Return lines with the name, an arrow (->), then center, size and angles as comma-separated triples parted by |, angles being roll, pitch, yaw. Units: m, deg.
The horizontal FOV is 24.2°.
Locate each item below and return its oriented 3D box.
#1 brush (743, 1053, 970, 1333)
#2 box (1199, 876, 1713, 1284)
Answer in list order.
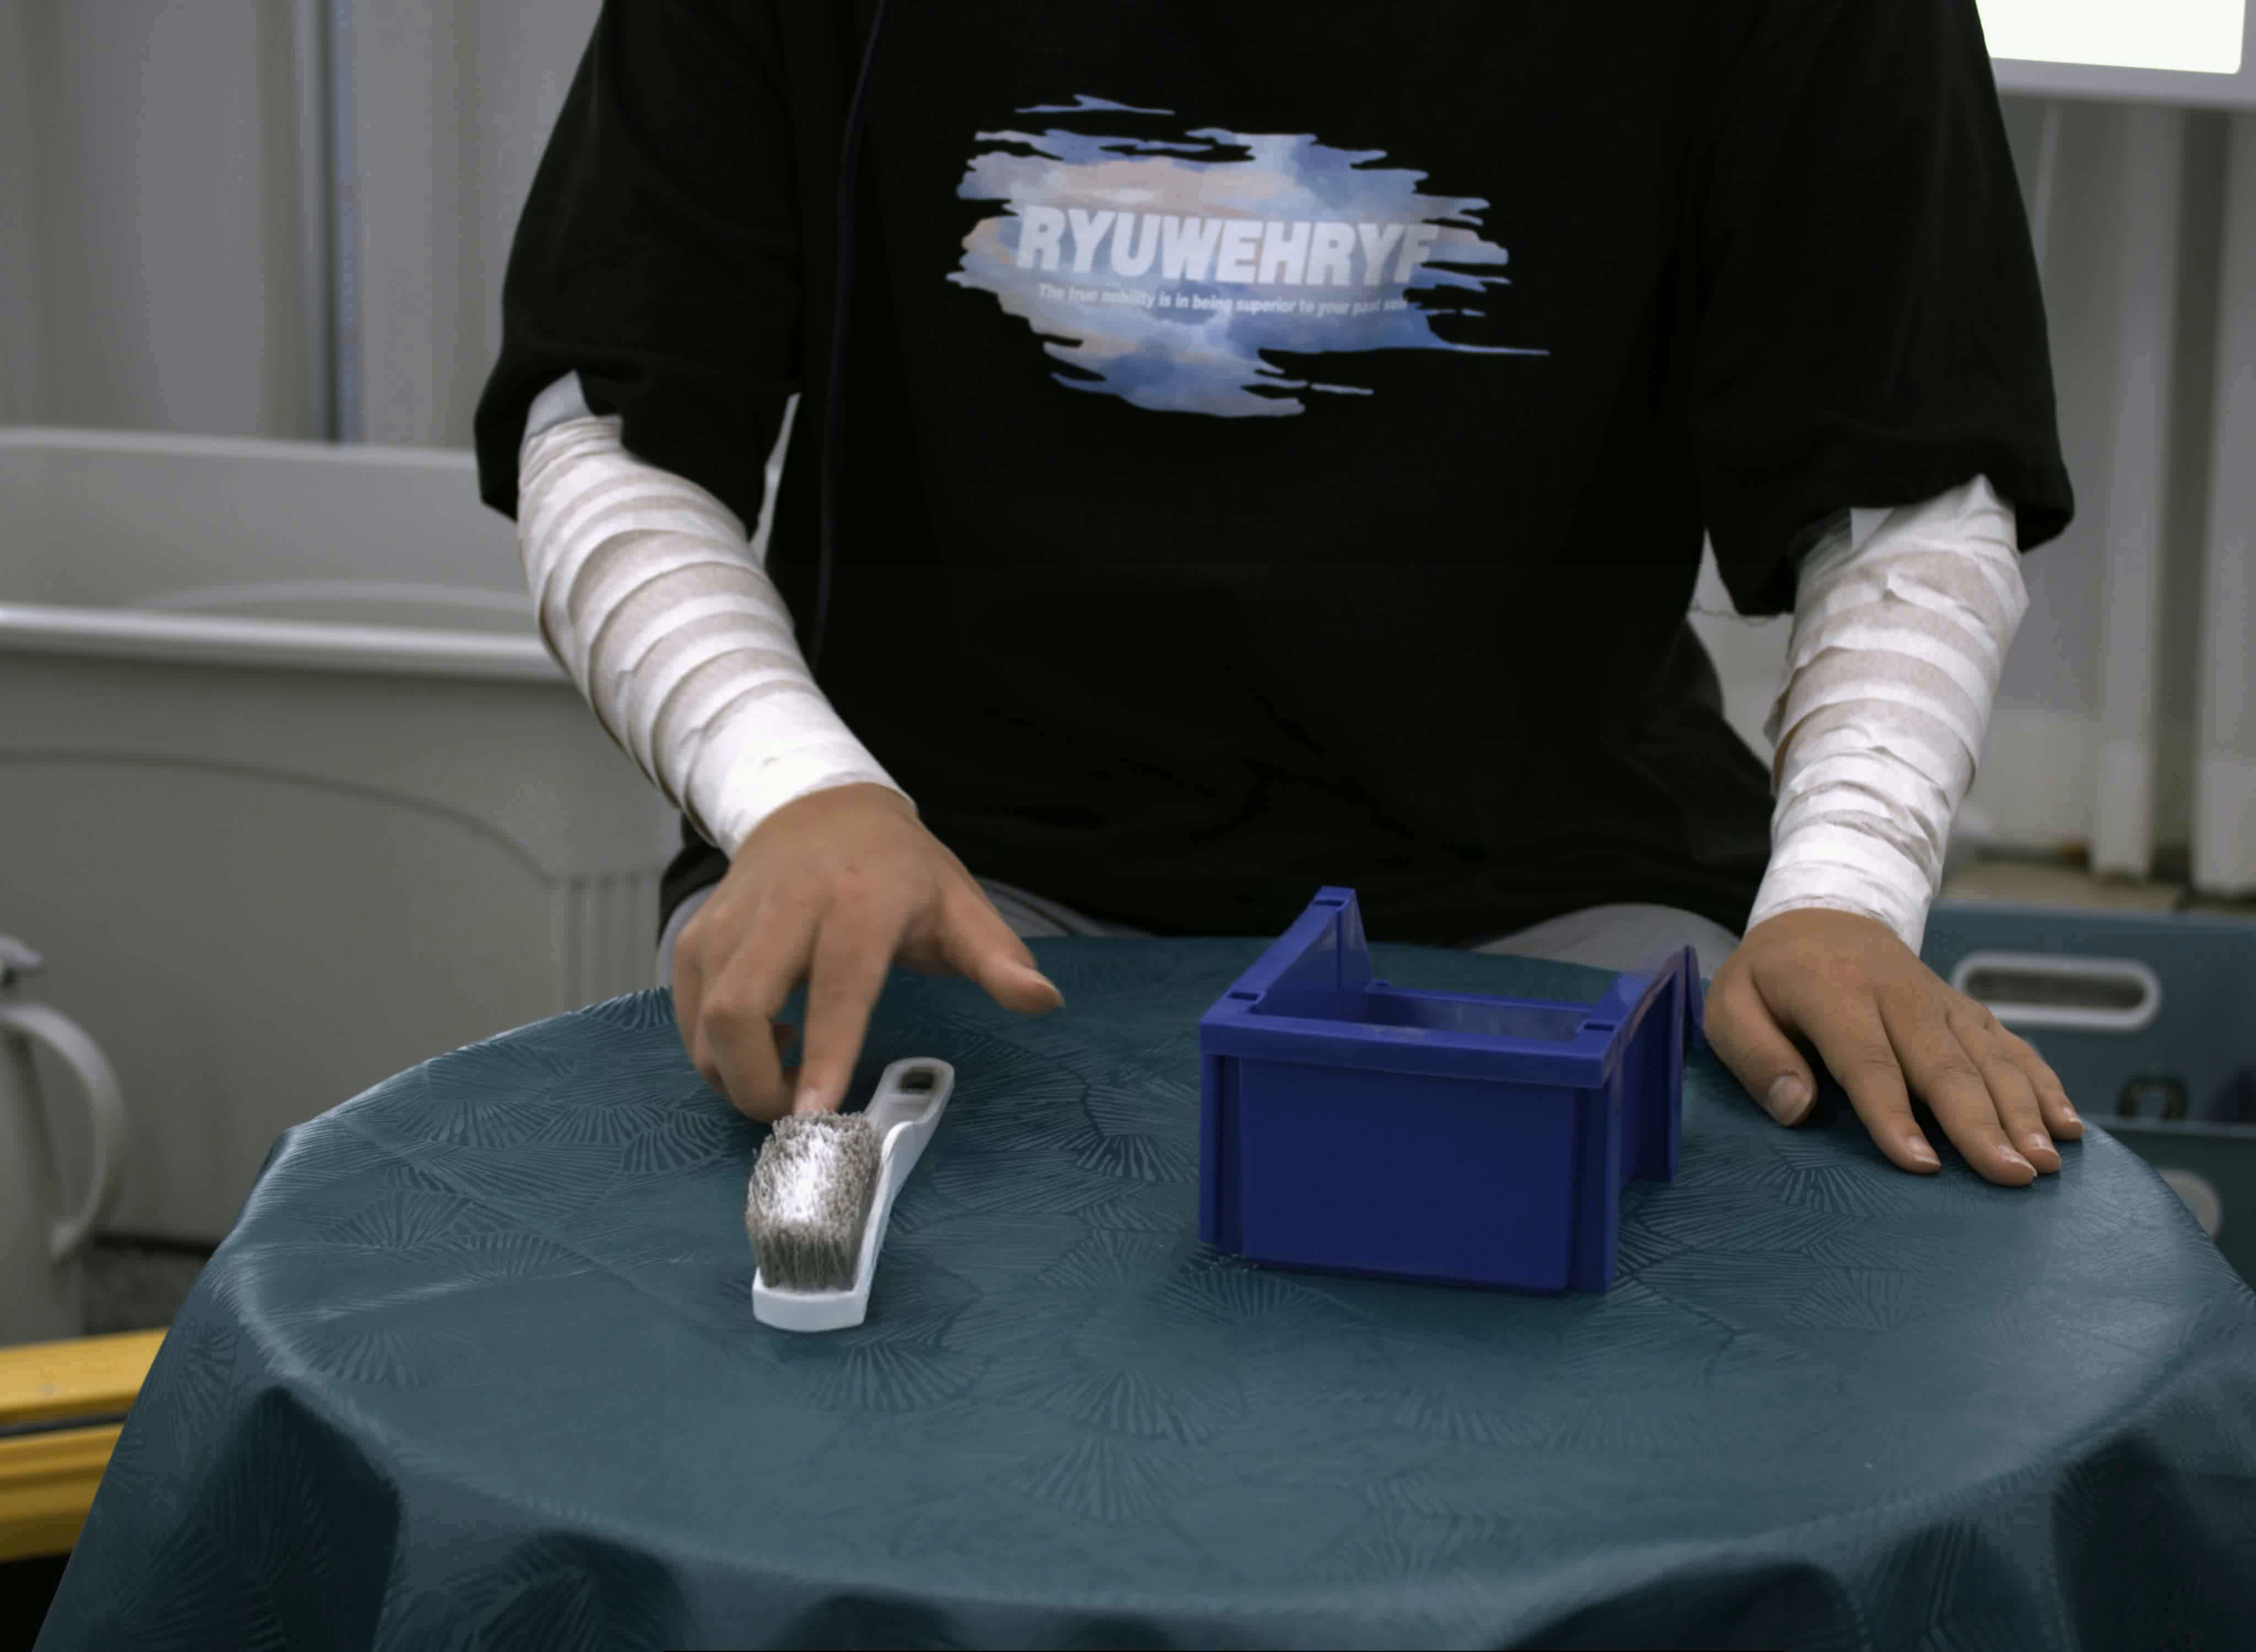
brush -> -0.079, 0.091, 1.602 | 0.034, 0.050, 0.243 | 2, 16, 8
box -> 0.102, 0.073, 1.616 | 0.123, 0.082, 0.179 | 5, 17, 16
